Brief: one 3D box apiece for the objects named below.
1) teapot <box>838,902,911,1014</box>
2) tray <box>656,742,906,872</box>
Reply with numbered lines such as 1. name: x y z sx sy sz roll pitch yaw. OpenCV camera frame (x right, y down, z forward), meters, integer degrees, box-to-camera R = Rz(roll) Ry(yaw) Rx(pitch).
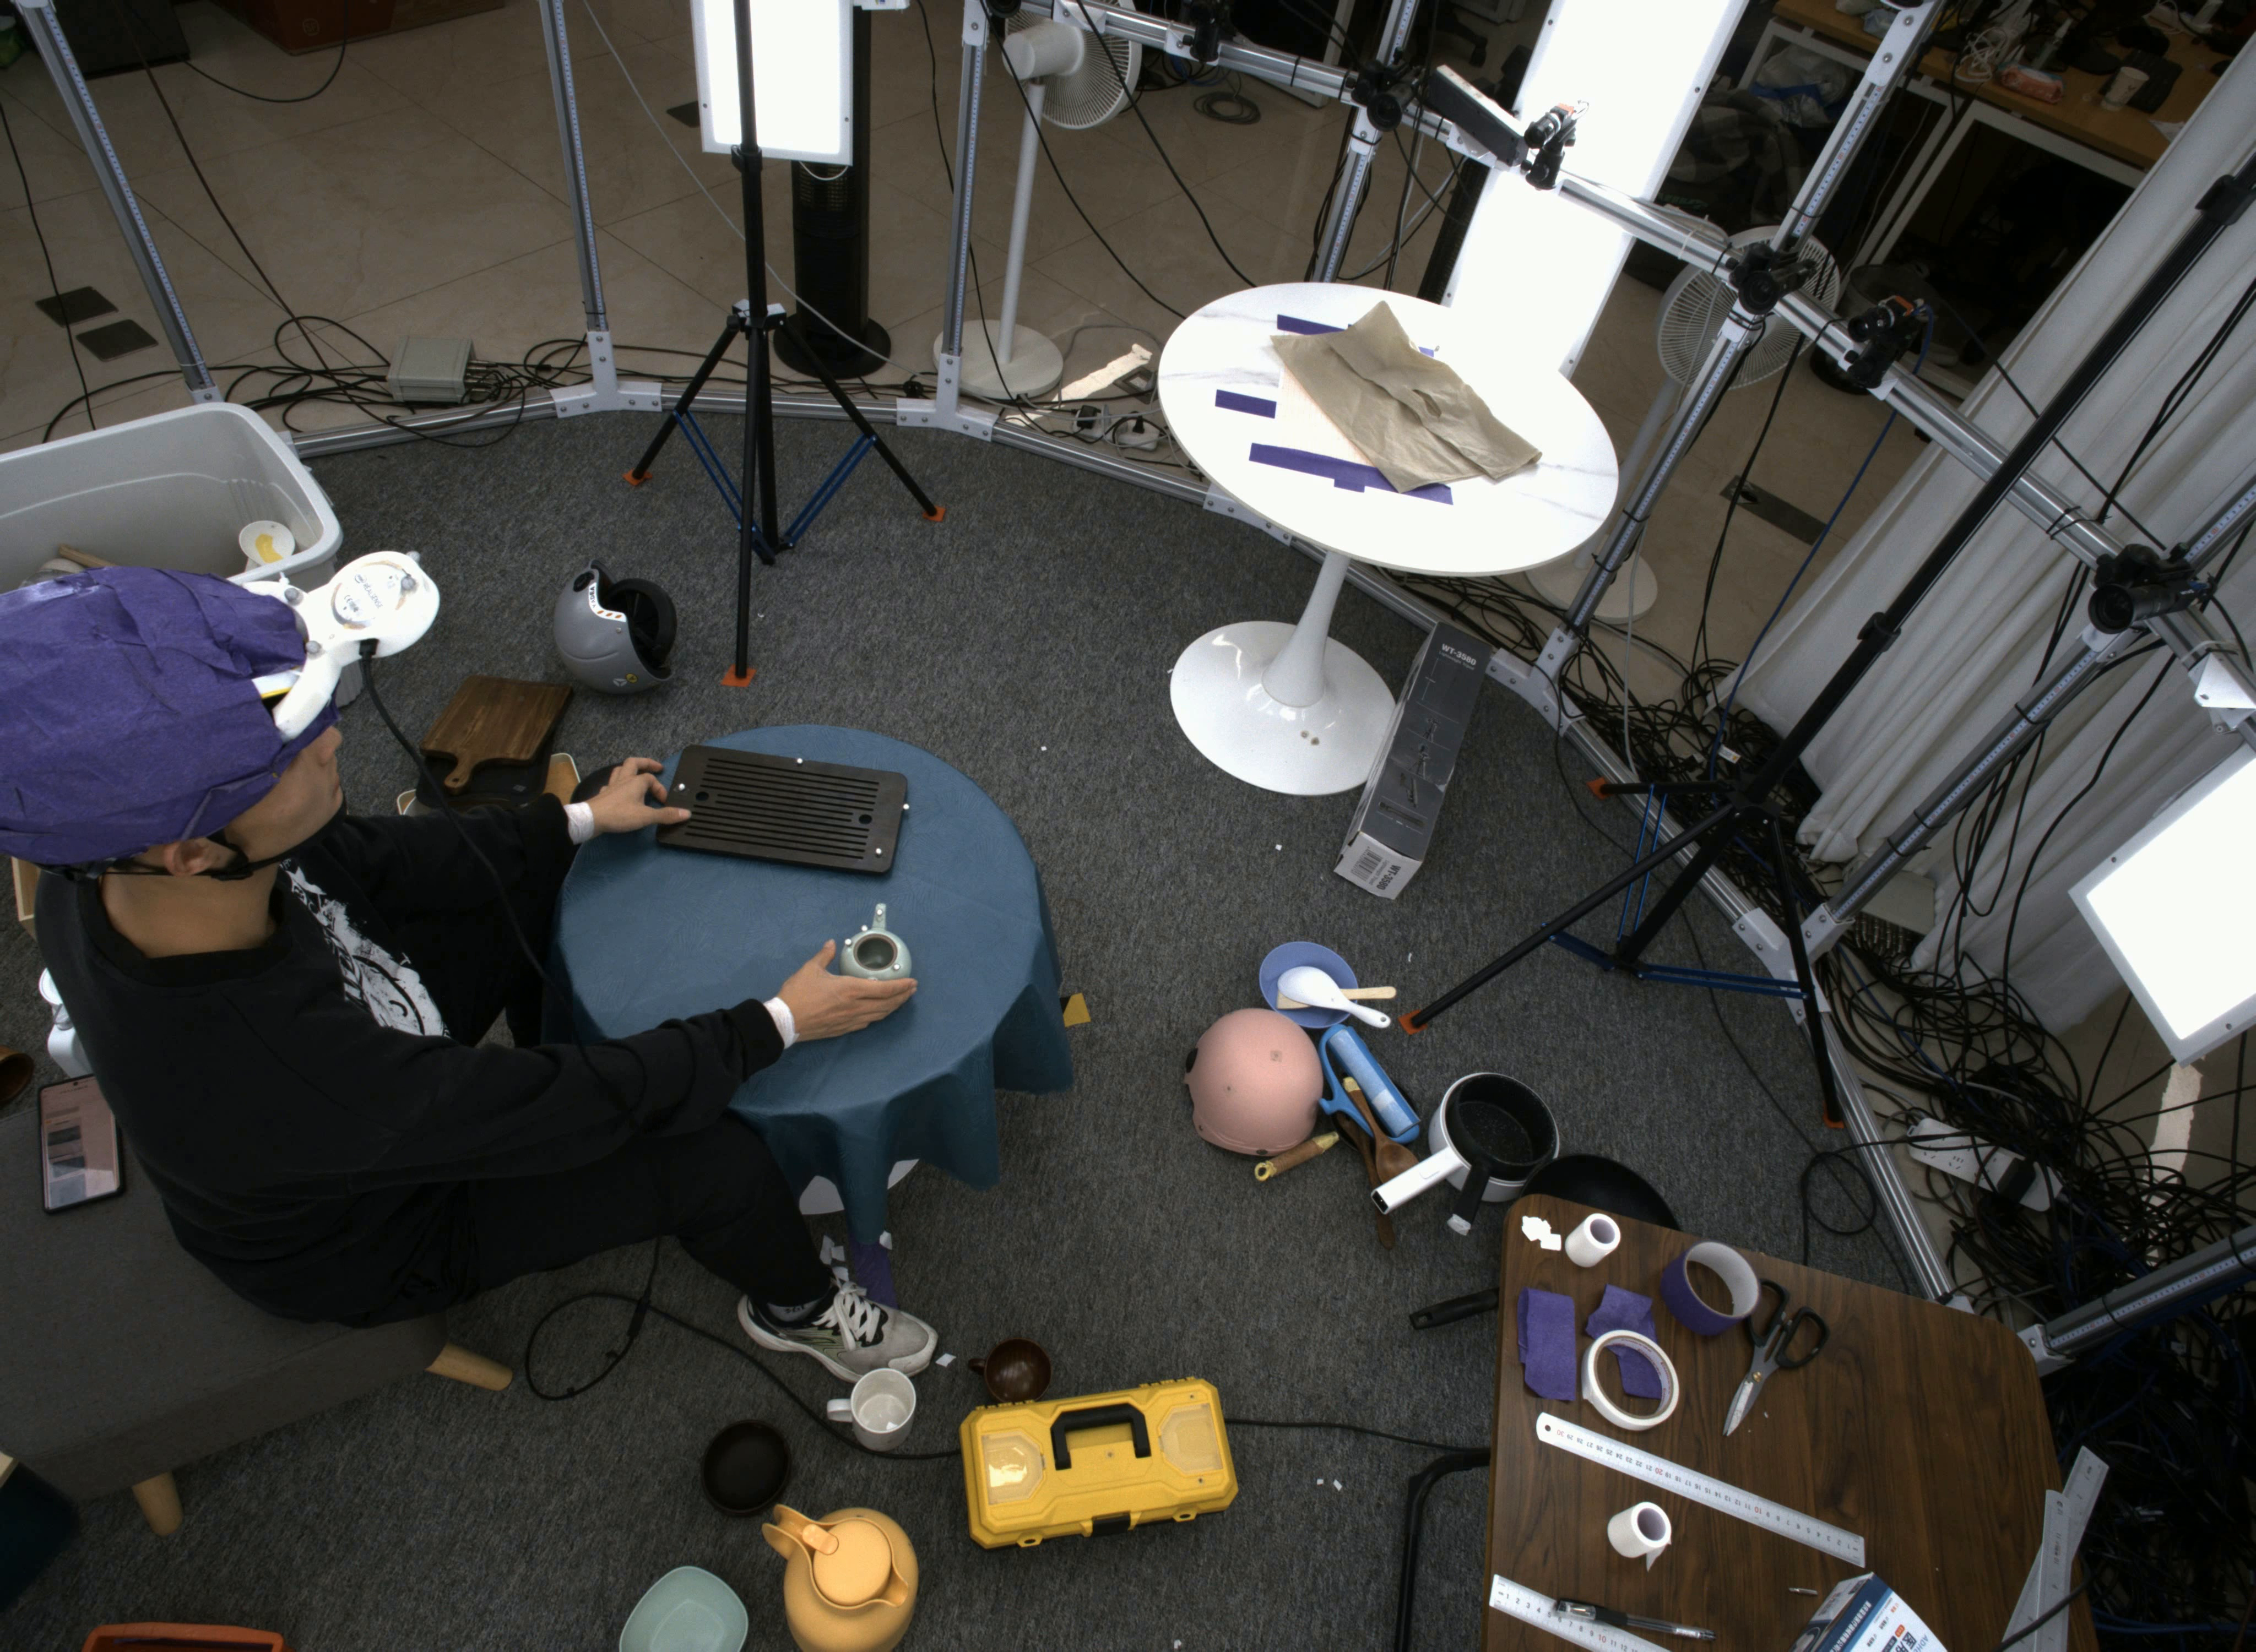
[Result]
1. teapot: -0.308 0.167 1.580 0.088 0.076 0.141 7 50 -8
2. tray: -0.457 -0.025 1.720 0.305 0.019 0.167 8 53 -8
